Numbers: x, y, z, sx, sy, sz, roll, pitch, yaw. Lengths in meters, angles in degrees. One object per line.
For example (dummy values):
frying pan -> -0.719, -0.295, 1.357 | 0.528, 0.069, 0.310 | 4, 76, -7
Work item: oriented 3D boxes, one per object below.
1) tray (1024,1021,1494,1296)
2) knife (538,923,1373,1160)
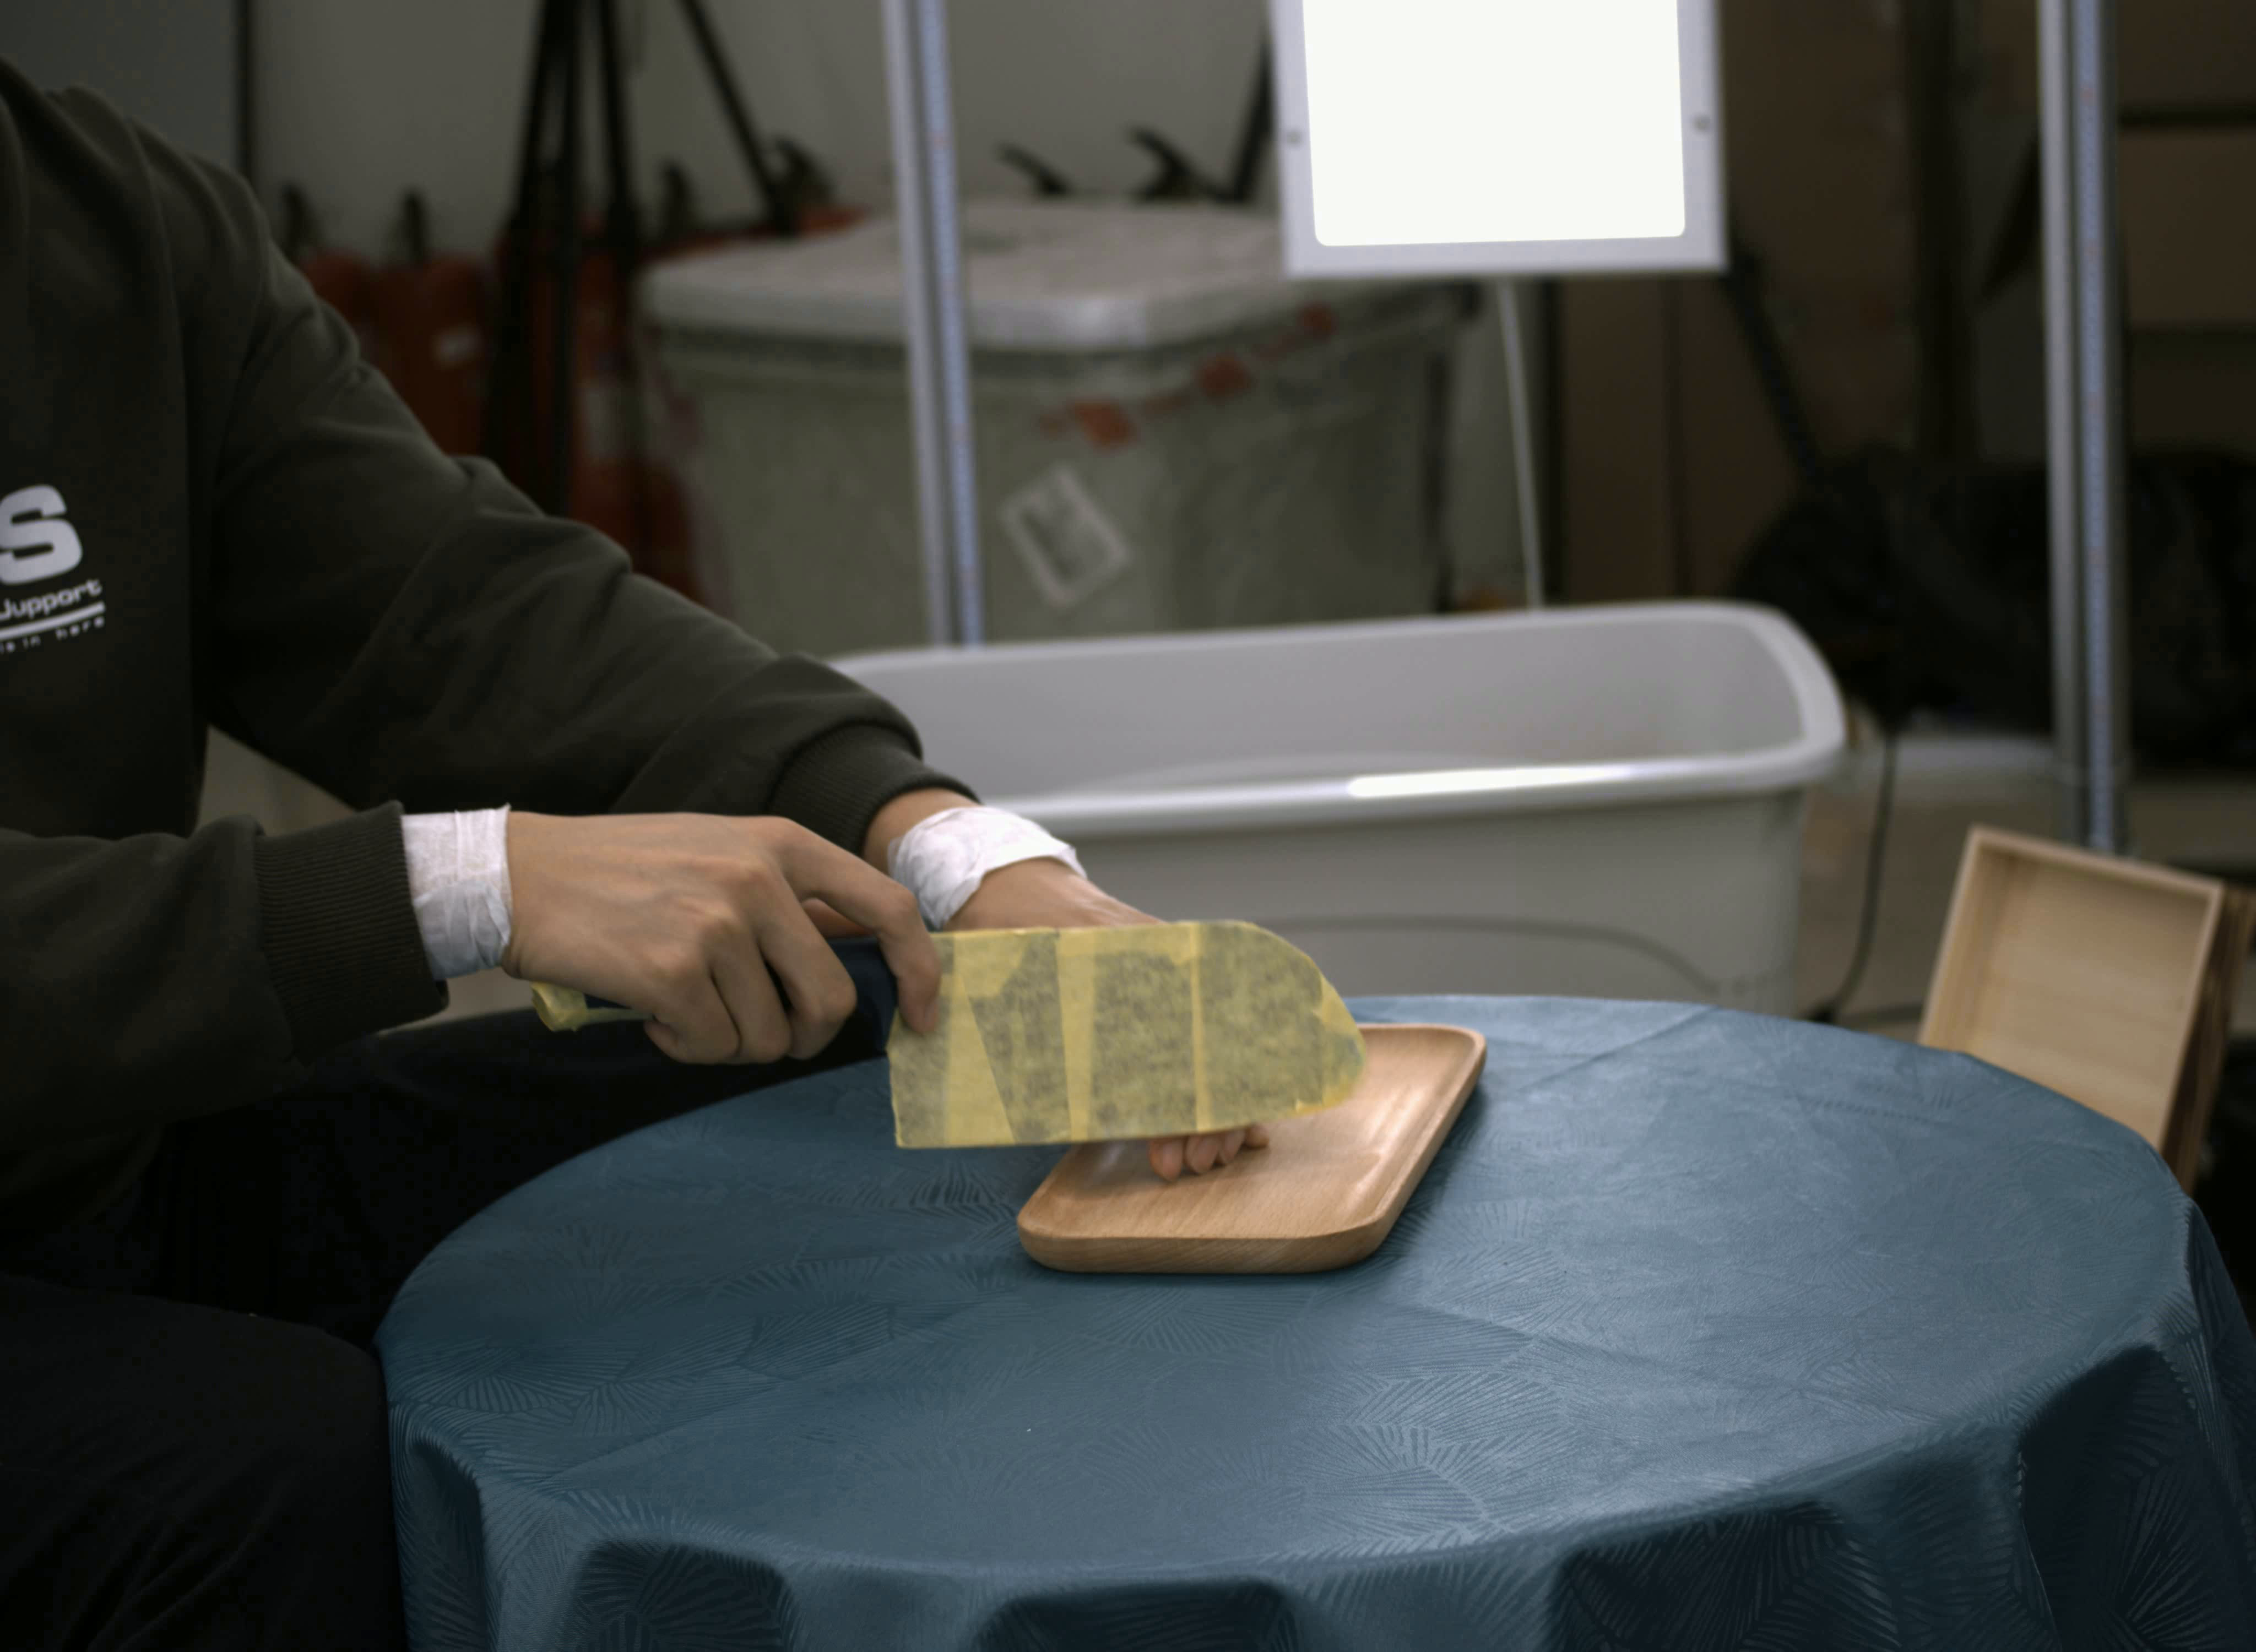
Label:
tray -> 0.050, 0.114, 1.918 | 0.132, 0.023, 0.247 | -5, 16, 16
knife -> -0.056, 0.072, 1.863 | 0.286, 0.081, 0.027 | 1, -6, -10
